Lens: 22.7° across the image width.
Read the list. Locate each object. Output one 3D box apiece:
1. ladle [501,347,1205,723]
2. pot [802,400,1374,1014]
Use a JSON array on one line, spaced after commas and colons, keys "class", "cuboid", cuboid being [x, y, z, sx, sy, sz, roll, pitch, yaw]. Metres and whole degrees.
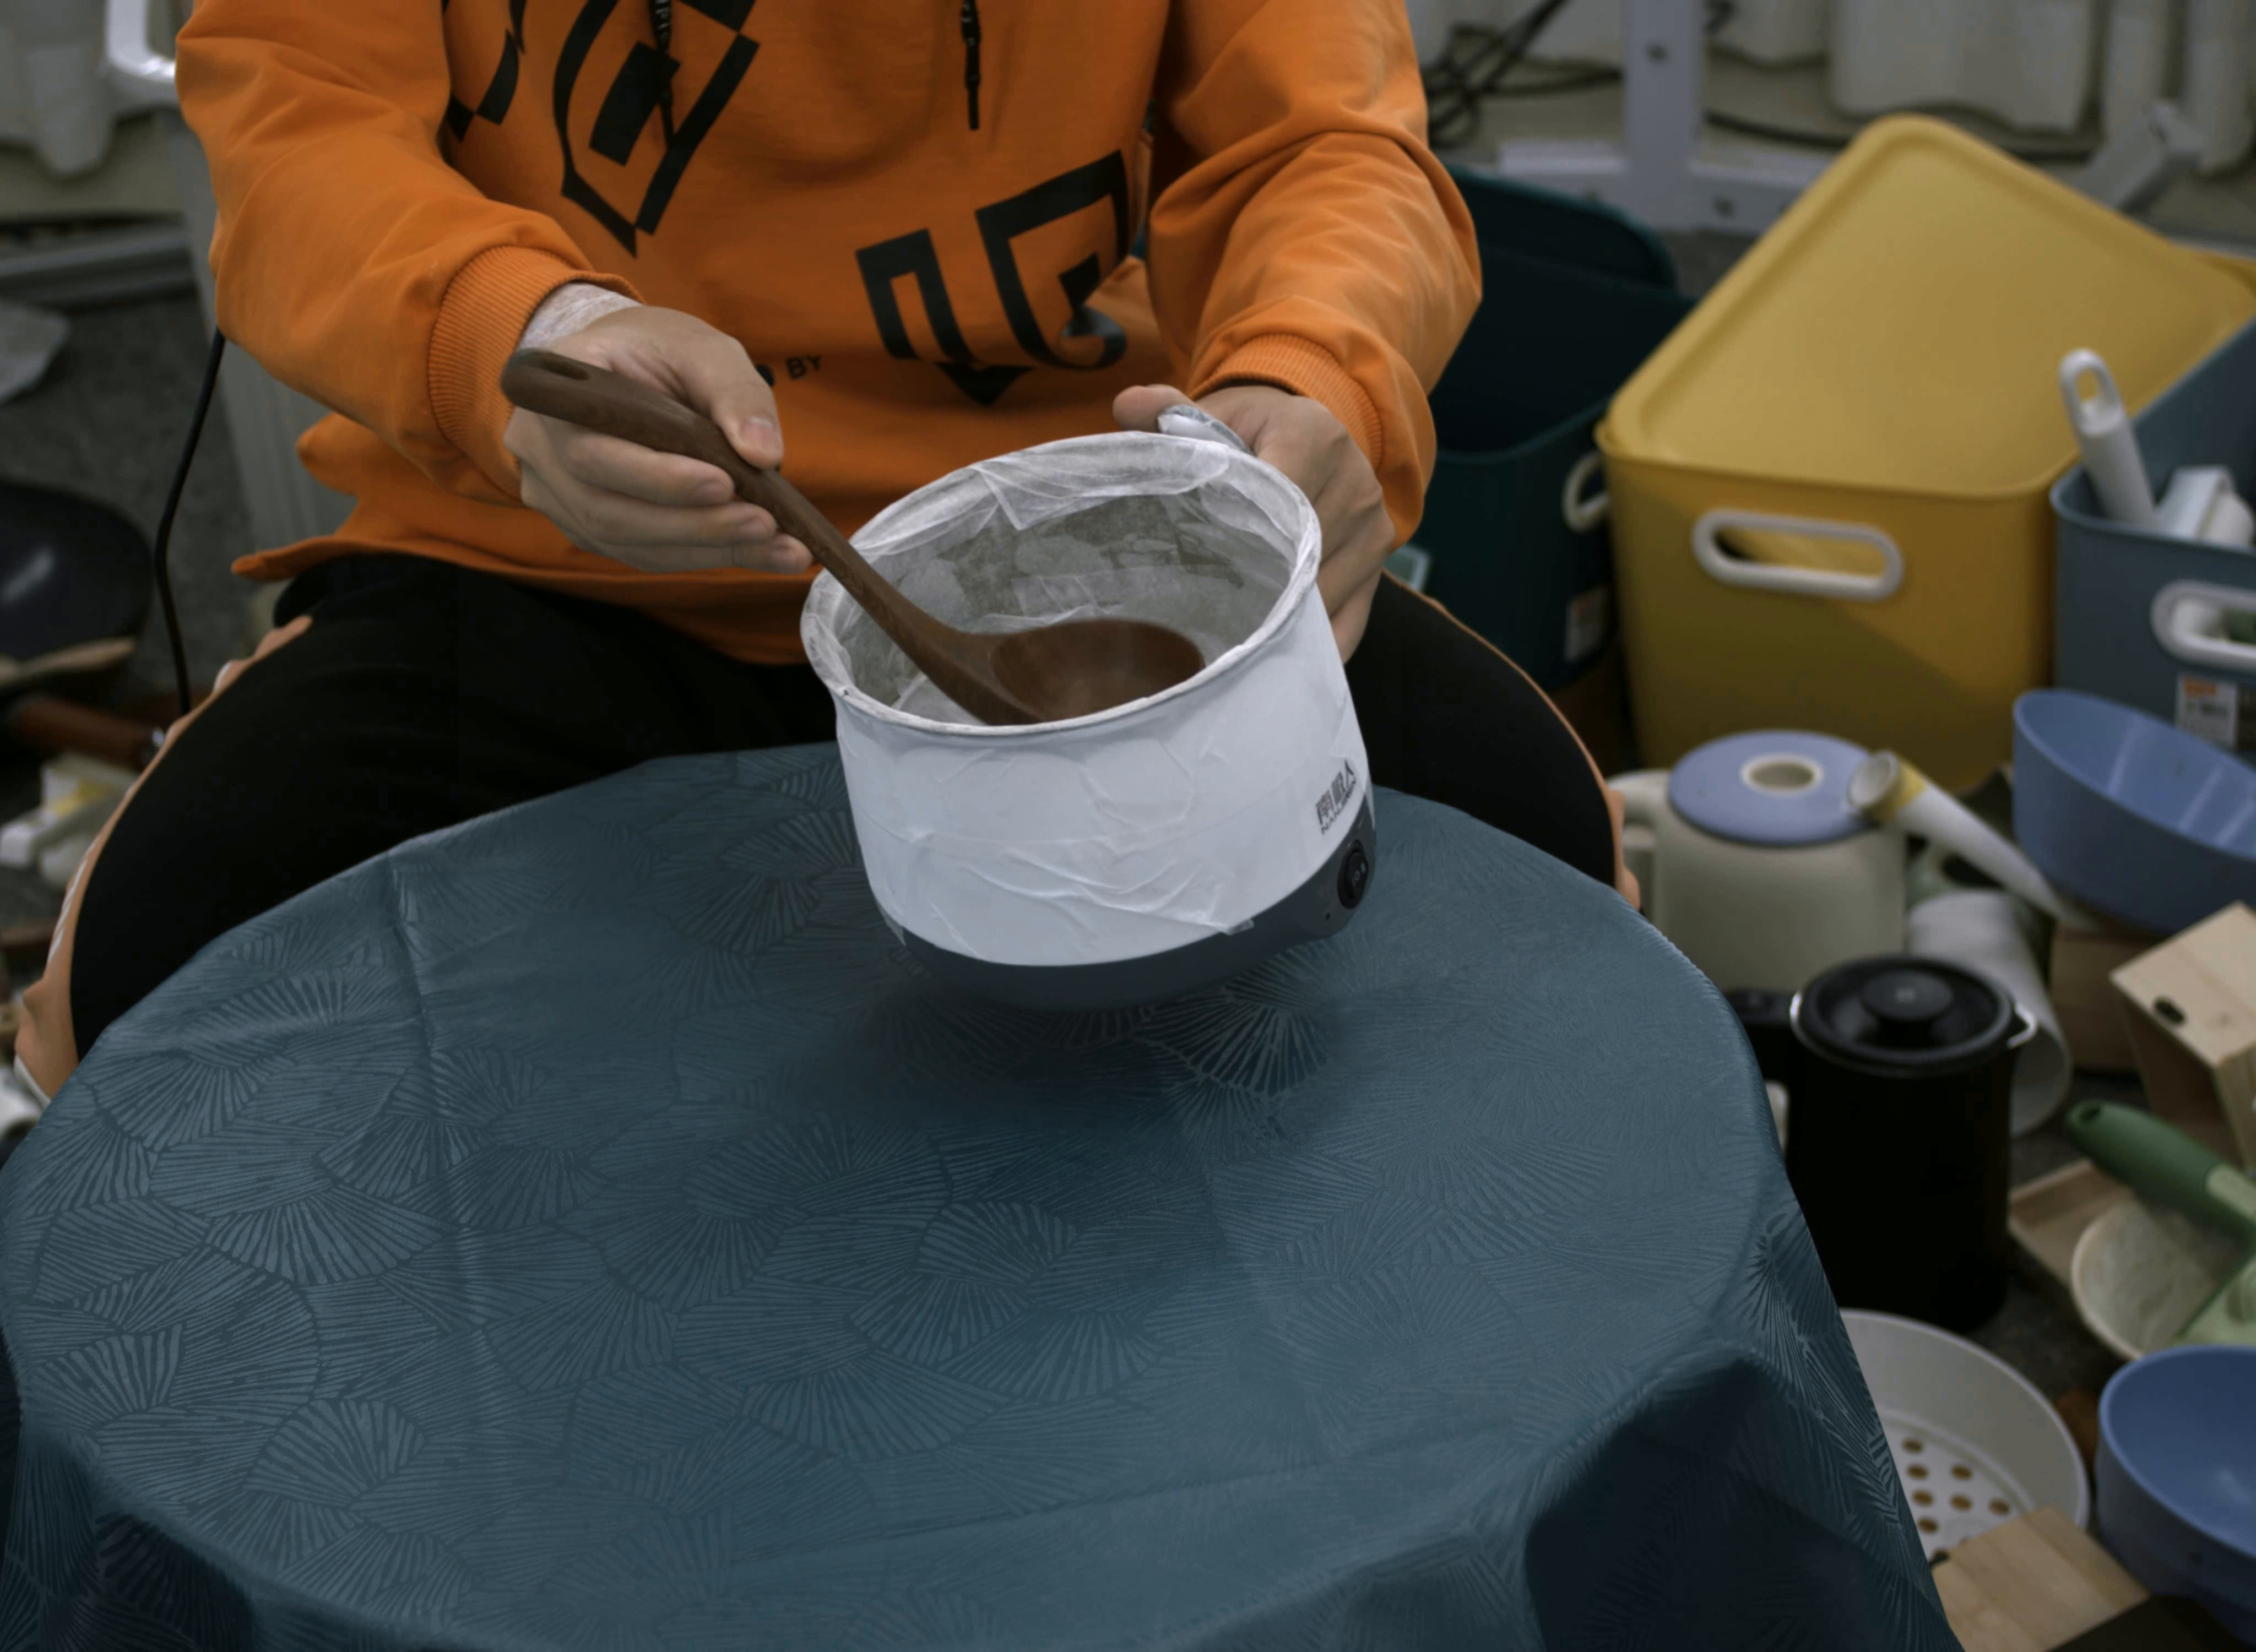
[{"class": "ladle", "cuboid": [-0.087, -0.098, 1.865, 0.259, 0.064, 0.077, 35, 21, -18]}, {"class": "pot", "cuboid": [-0.001, -0.049, 1.929, 0.177, 0.135, 0.238, 5, 38, 24]}]
